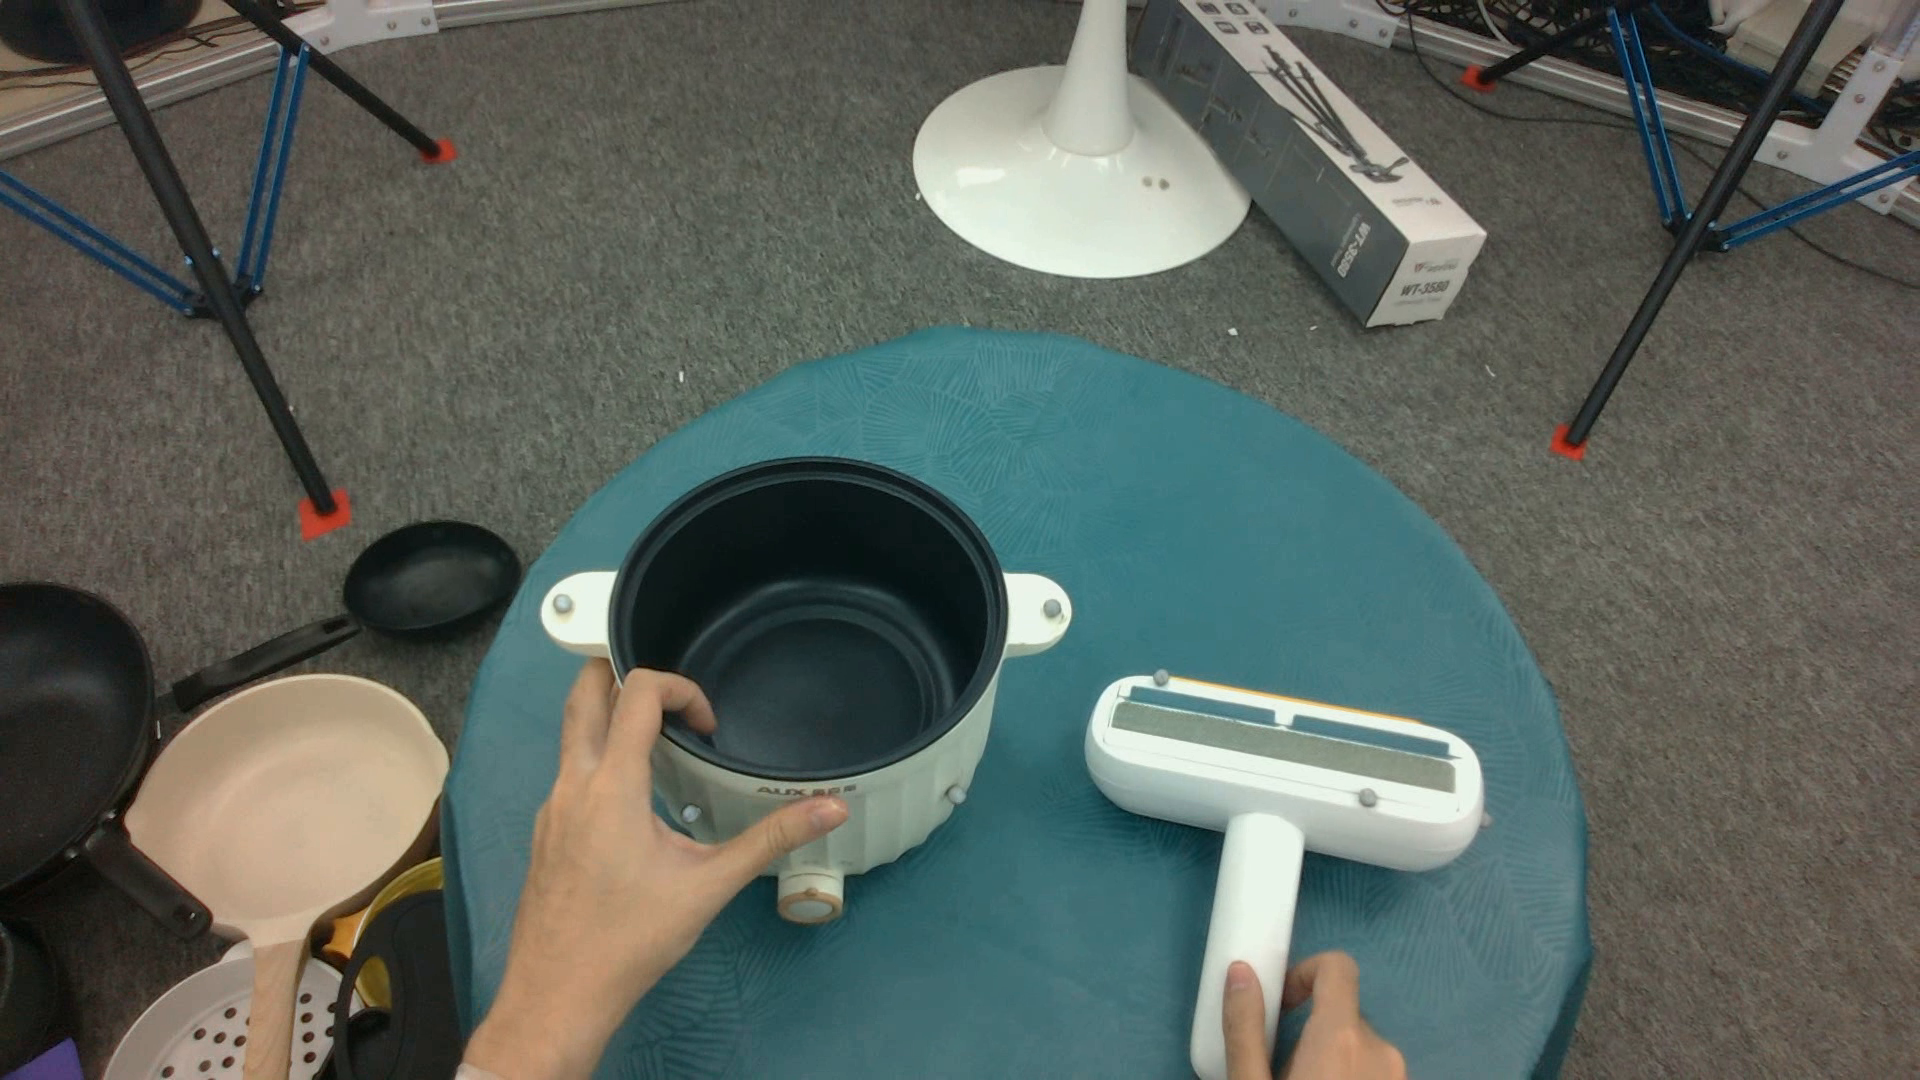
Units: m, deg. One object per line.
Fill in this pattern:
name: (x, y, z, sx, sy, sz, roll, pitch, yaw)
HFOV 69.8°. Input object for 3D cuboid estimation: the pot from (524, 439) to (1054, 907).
pot: (-0.078, 0.066, 0.673, 0.240, 0.142, 0.191, -1, 49, -4)

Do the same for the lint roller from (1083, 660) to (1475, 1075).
lint roller: (0.138, 0.158, 0.665, 0.193, 0.074, 0.193, 15, 53, 13)
